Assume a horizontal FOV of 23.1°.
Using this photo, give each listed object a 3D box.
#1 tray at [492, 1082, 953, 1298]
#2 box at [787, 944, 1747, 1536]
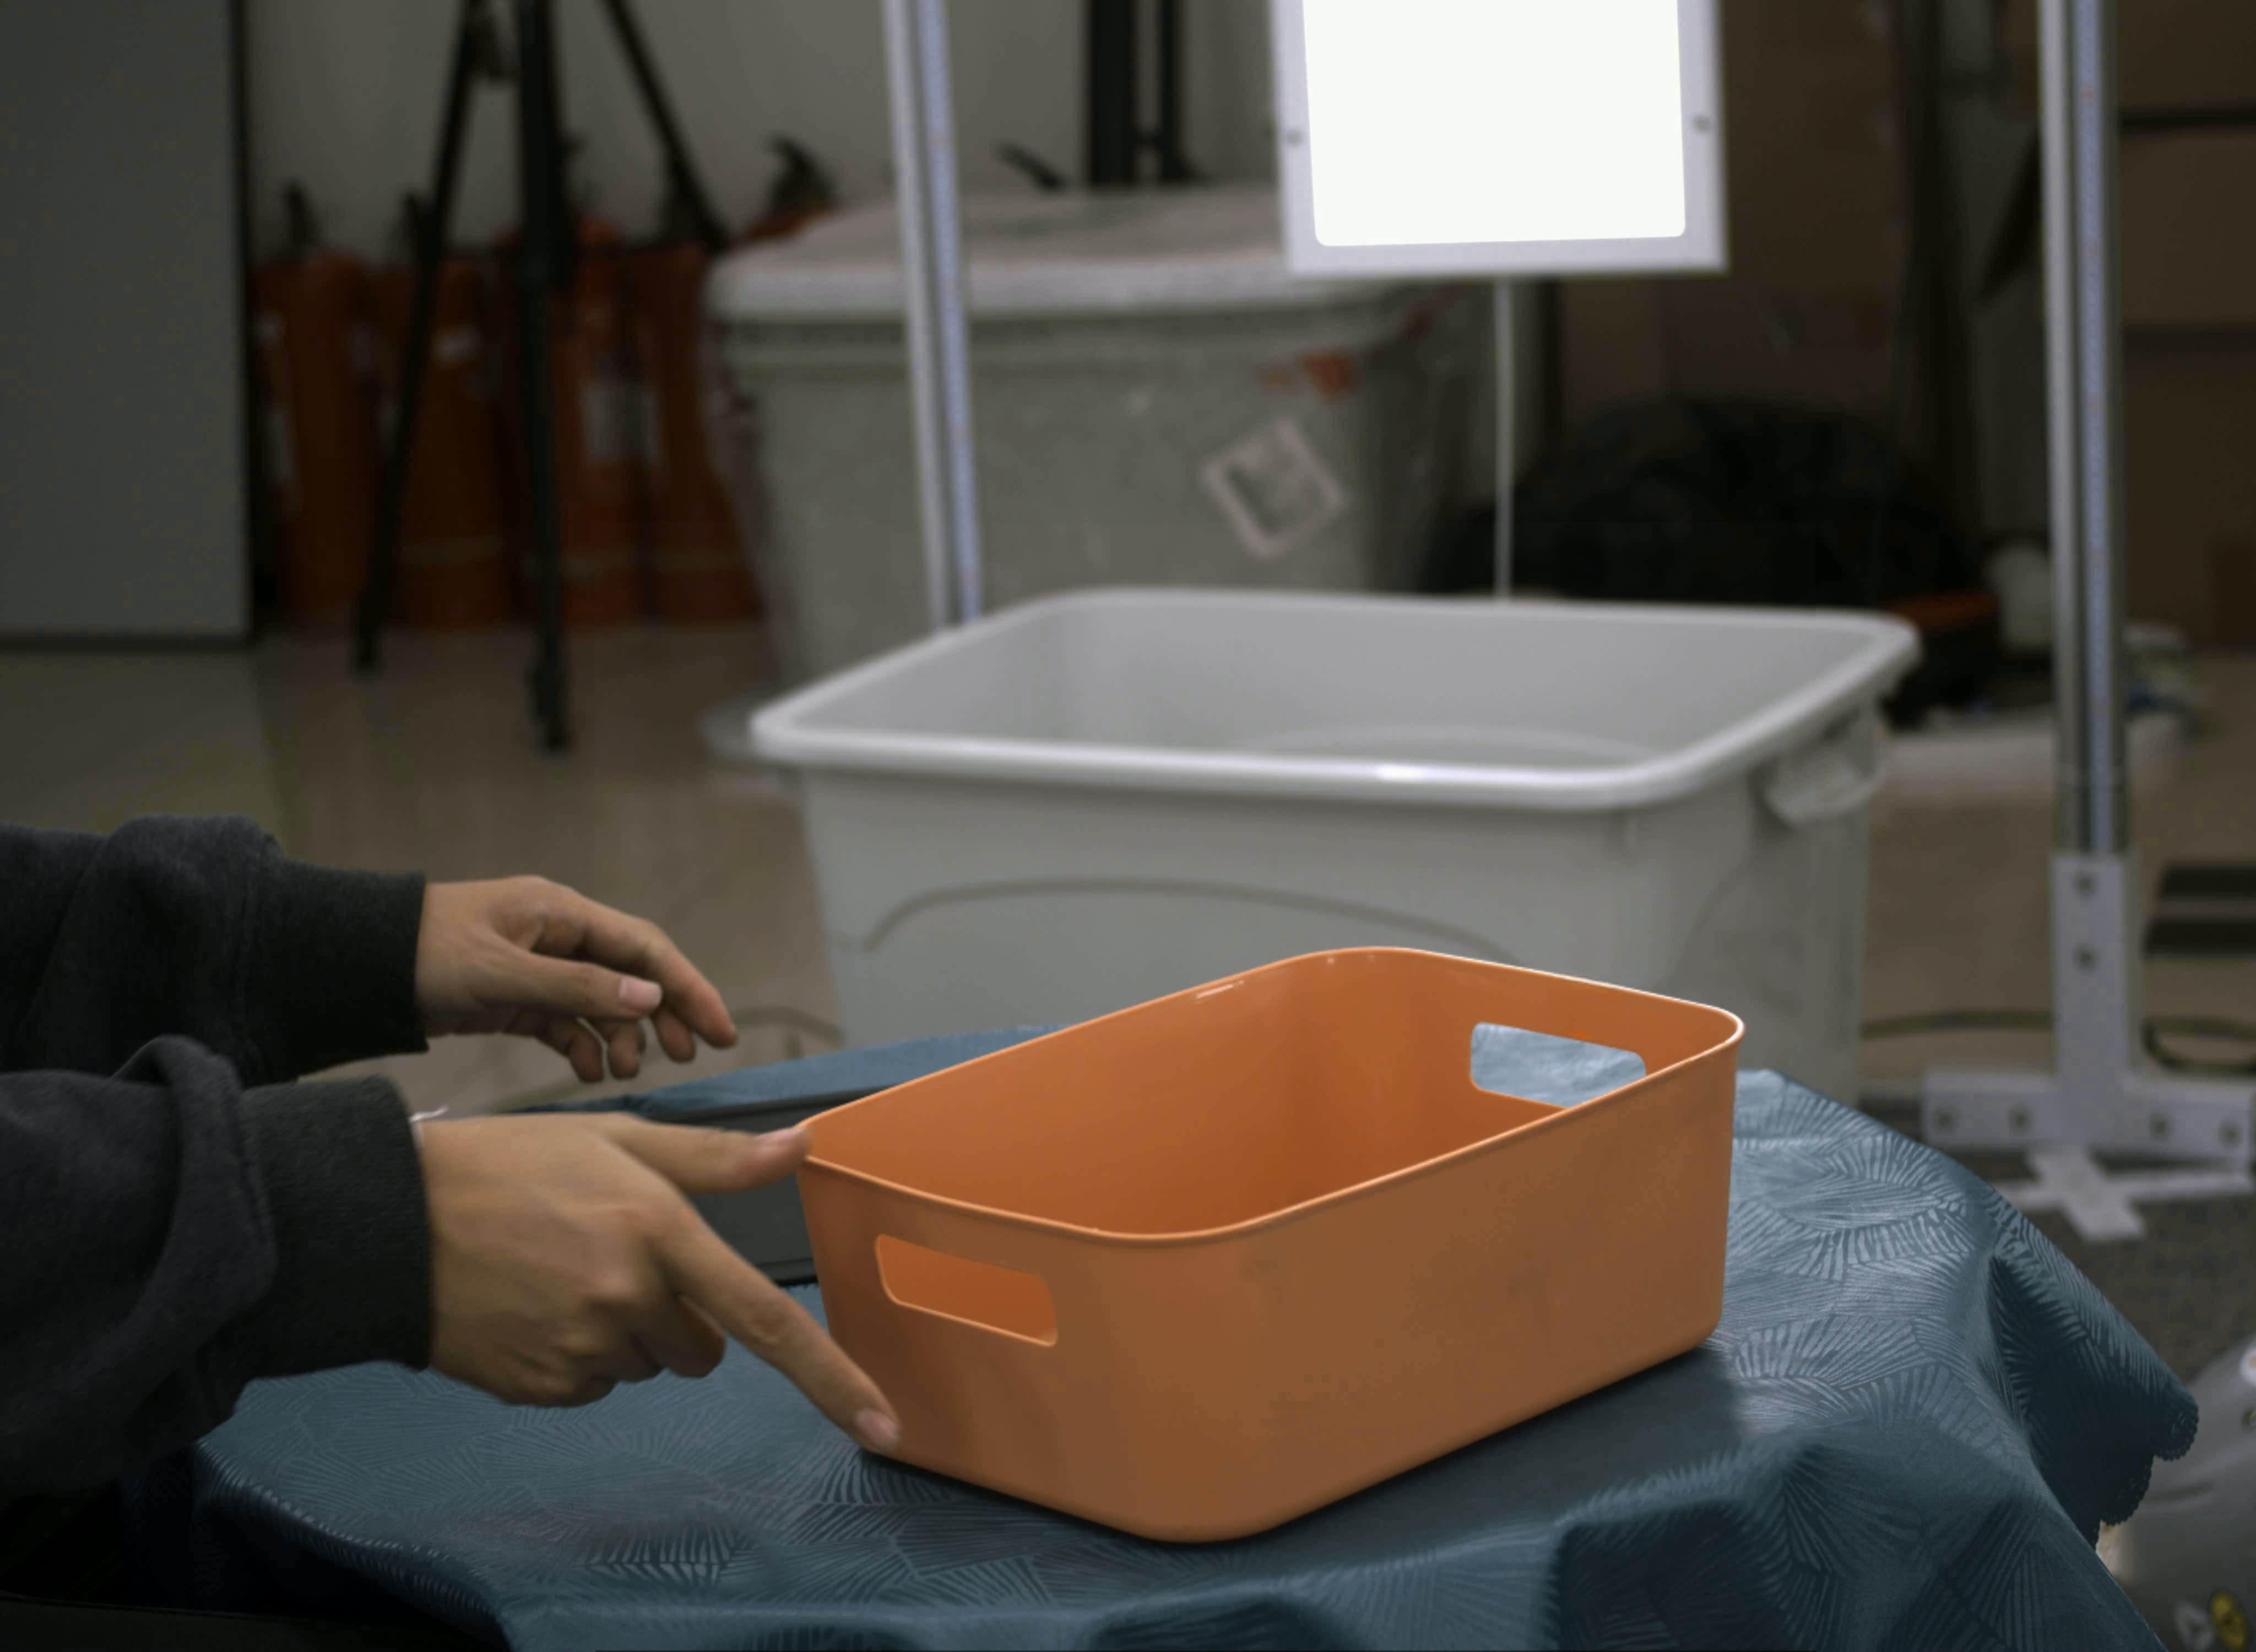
[{"bbox_3d":[-0.061,0.119,1.937,0.322,0.010,0.212,-7,14,-8],"label":"tray"},{"bbox_3d":[0.046,0.122,1.676,0.266,0.103,0.204,-16,18,-40],"label":"box"}]
